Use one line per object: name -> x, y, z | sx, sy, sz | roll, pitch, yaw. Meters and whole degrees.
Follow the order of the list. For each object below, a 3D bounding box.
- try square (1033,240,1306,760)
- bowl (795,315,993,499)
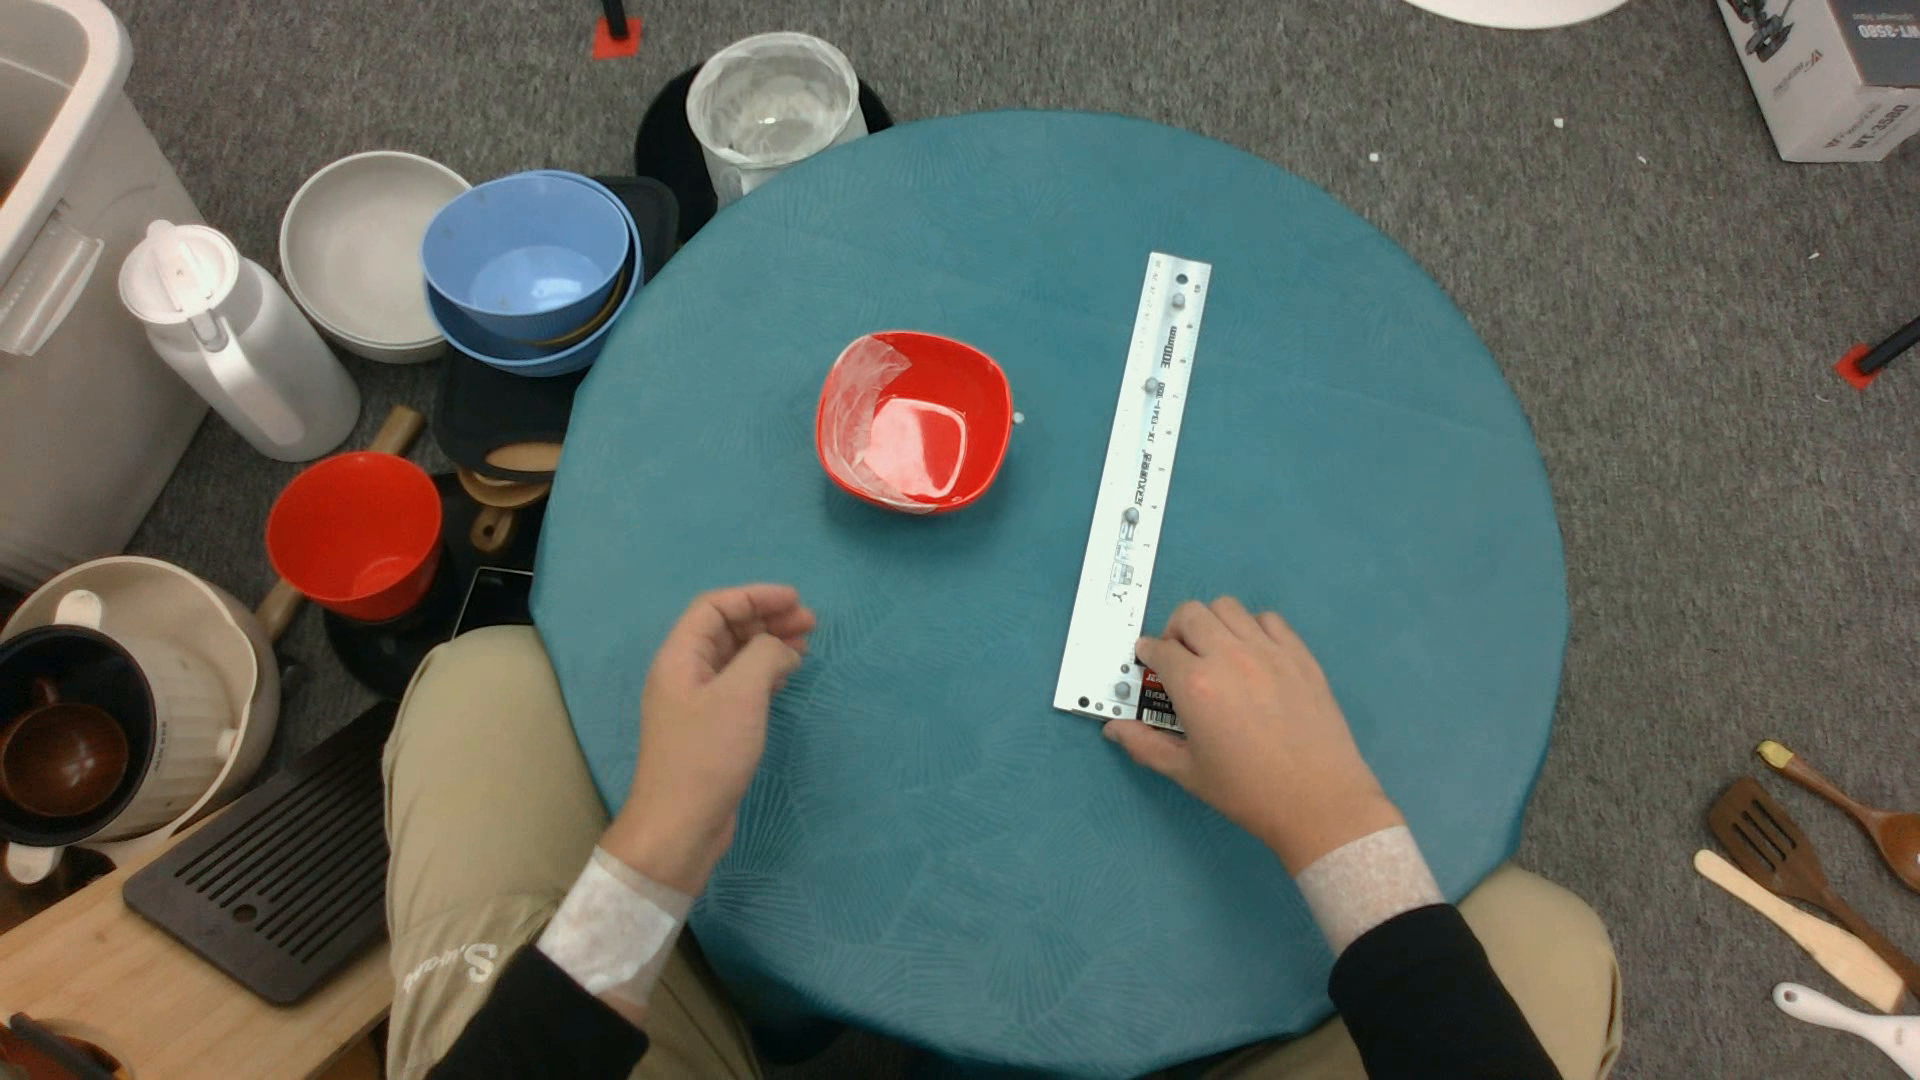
try square -> 0.146, -0.035, 0.821 | 0.152, 0.016, 0.314 | 13, 67, 1
bowl -> -0.039, -0.069, 0.797 | 0.119, 0.051, 0.119 | 2, 68, -5
